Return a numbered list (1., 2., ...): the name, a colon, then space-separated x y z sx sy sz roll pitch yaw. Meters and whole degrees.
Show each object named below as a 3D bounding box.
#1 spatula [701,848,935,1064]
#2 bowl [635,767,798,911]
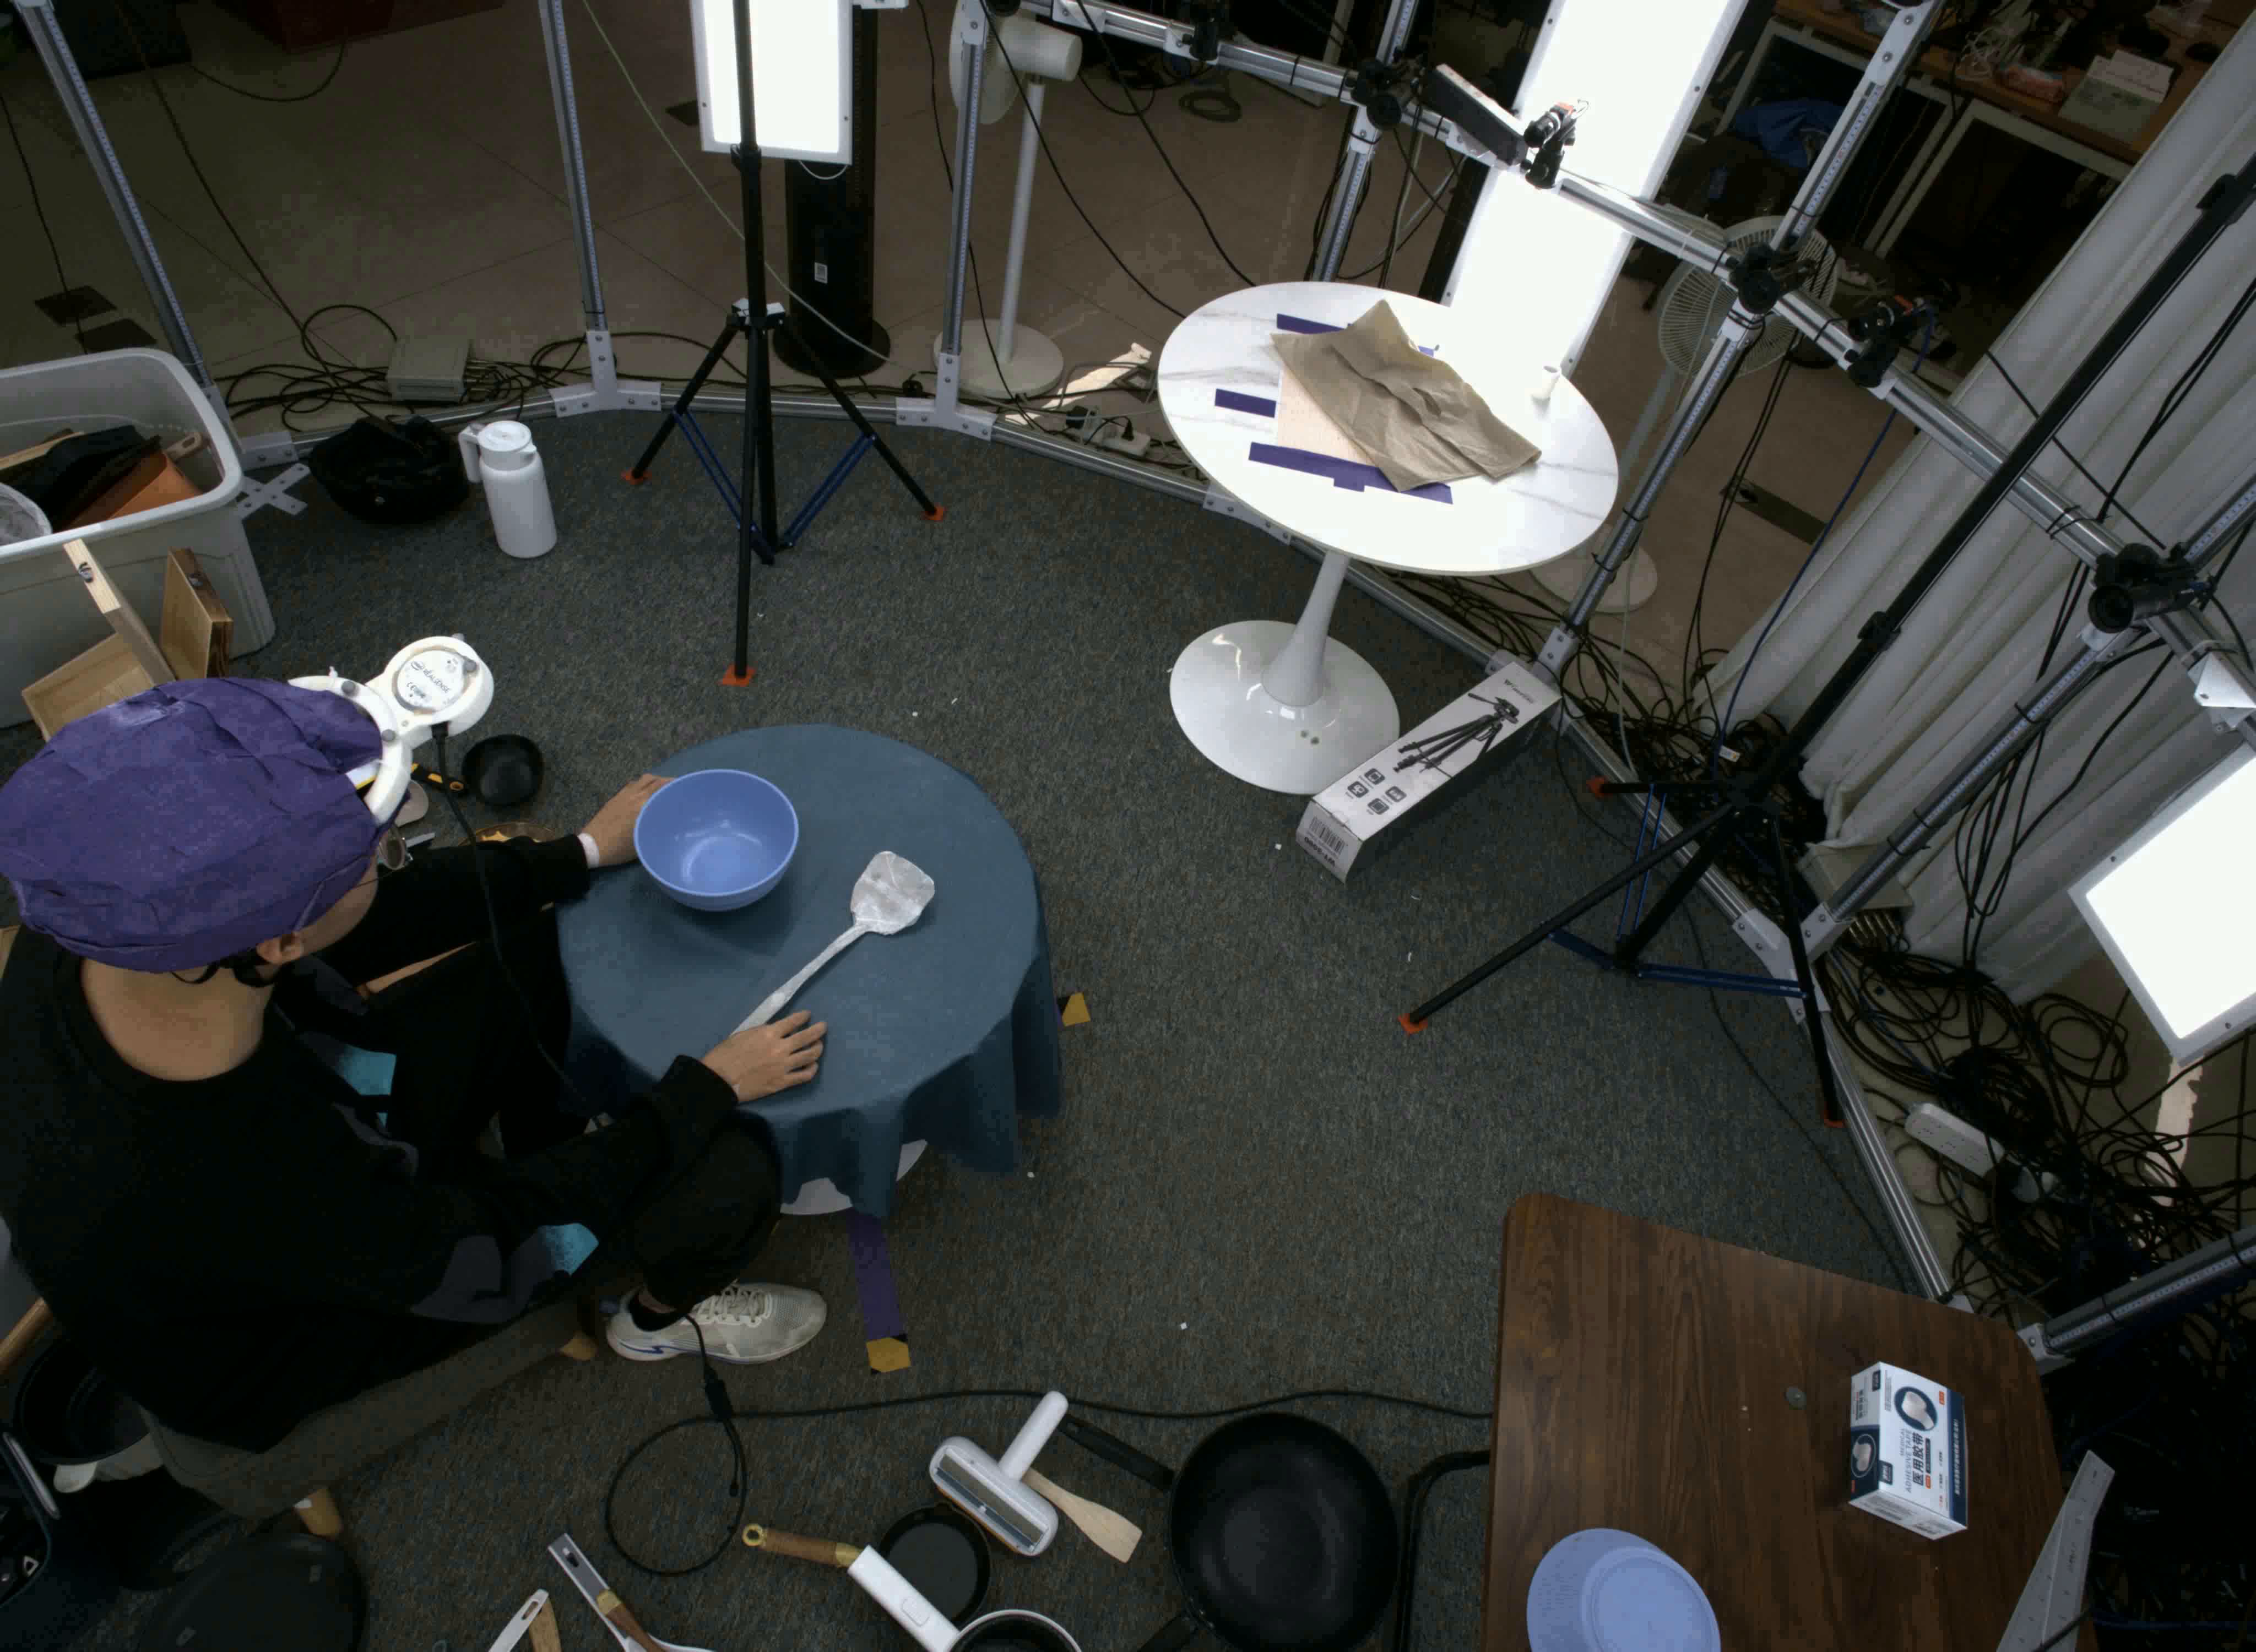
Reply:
1. spatula: -0.383 0.162 1.594 0.097 0.045 0.364 36 53 12
2. bowl: -0.513 0.031 1.621 0.196 0.097 0.193 9 51 -9
